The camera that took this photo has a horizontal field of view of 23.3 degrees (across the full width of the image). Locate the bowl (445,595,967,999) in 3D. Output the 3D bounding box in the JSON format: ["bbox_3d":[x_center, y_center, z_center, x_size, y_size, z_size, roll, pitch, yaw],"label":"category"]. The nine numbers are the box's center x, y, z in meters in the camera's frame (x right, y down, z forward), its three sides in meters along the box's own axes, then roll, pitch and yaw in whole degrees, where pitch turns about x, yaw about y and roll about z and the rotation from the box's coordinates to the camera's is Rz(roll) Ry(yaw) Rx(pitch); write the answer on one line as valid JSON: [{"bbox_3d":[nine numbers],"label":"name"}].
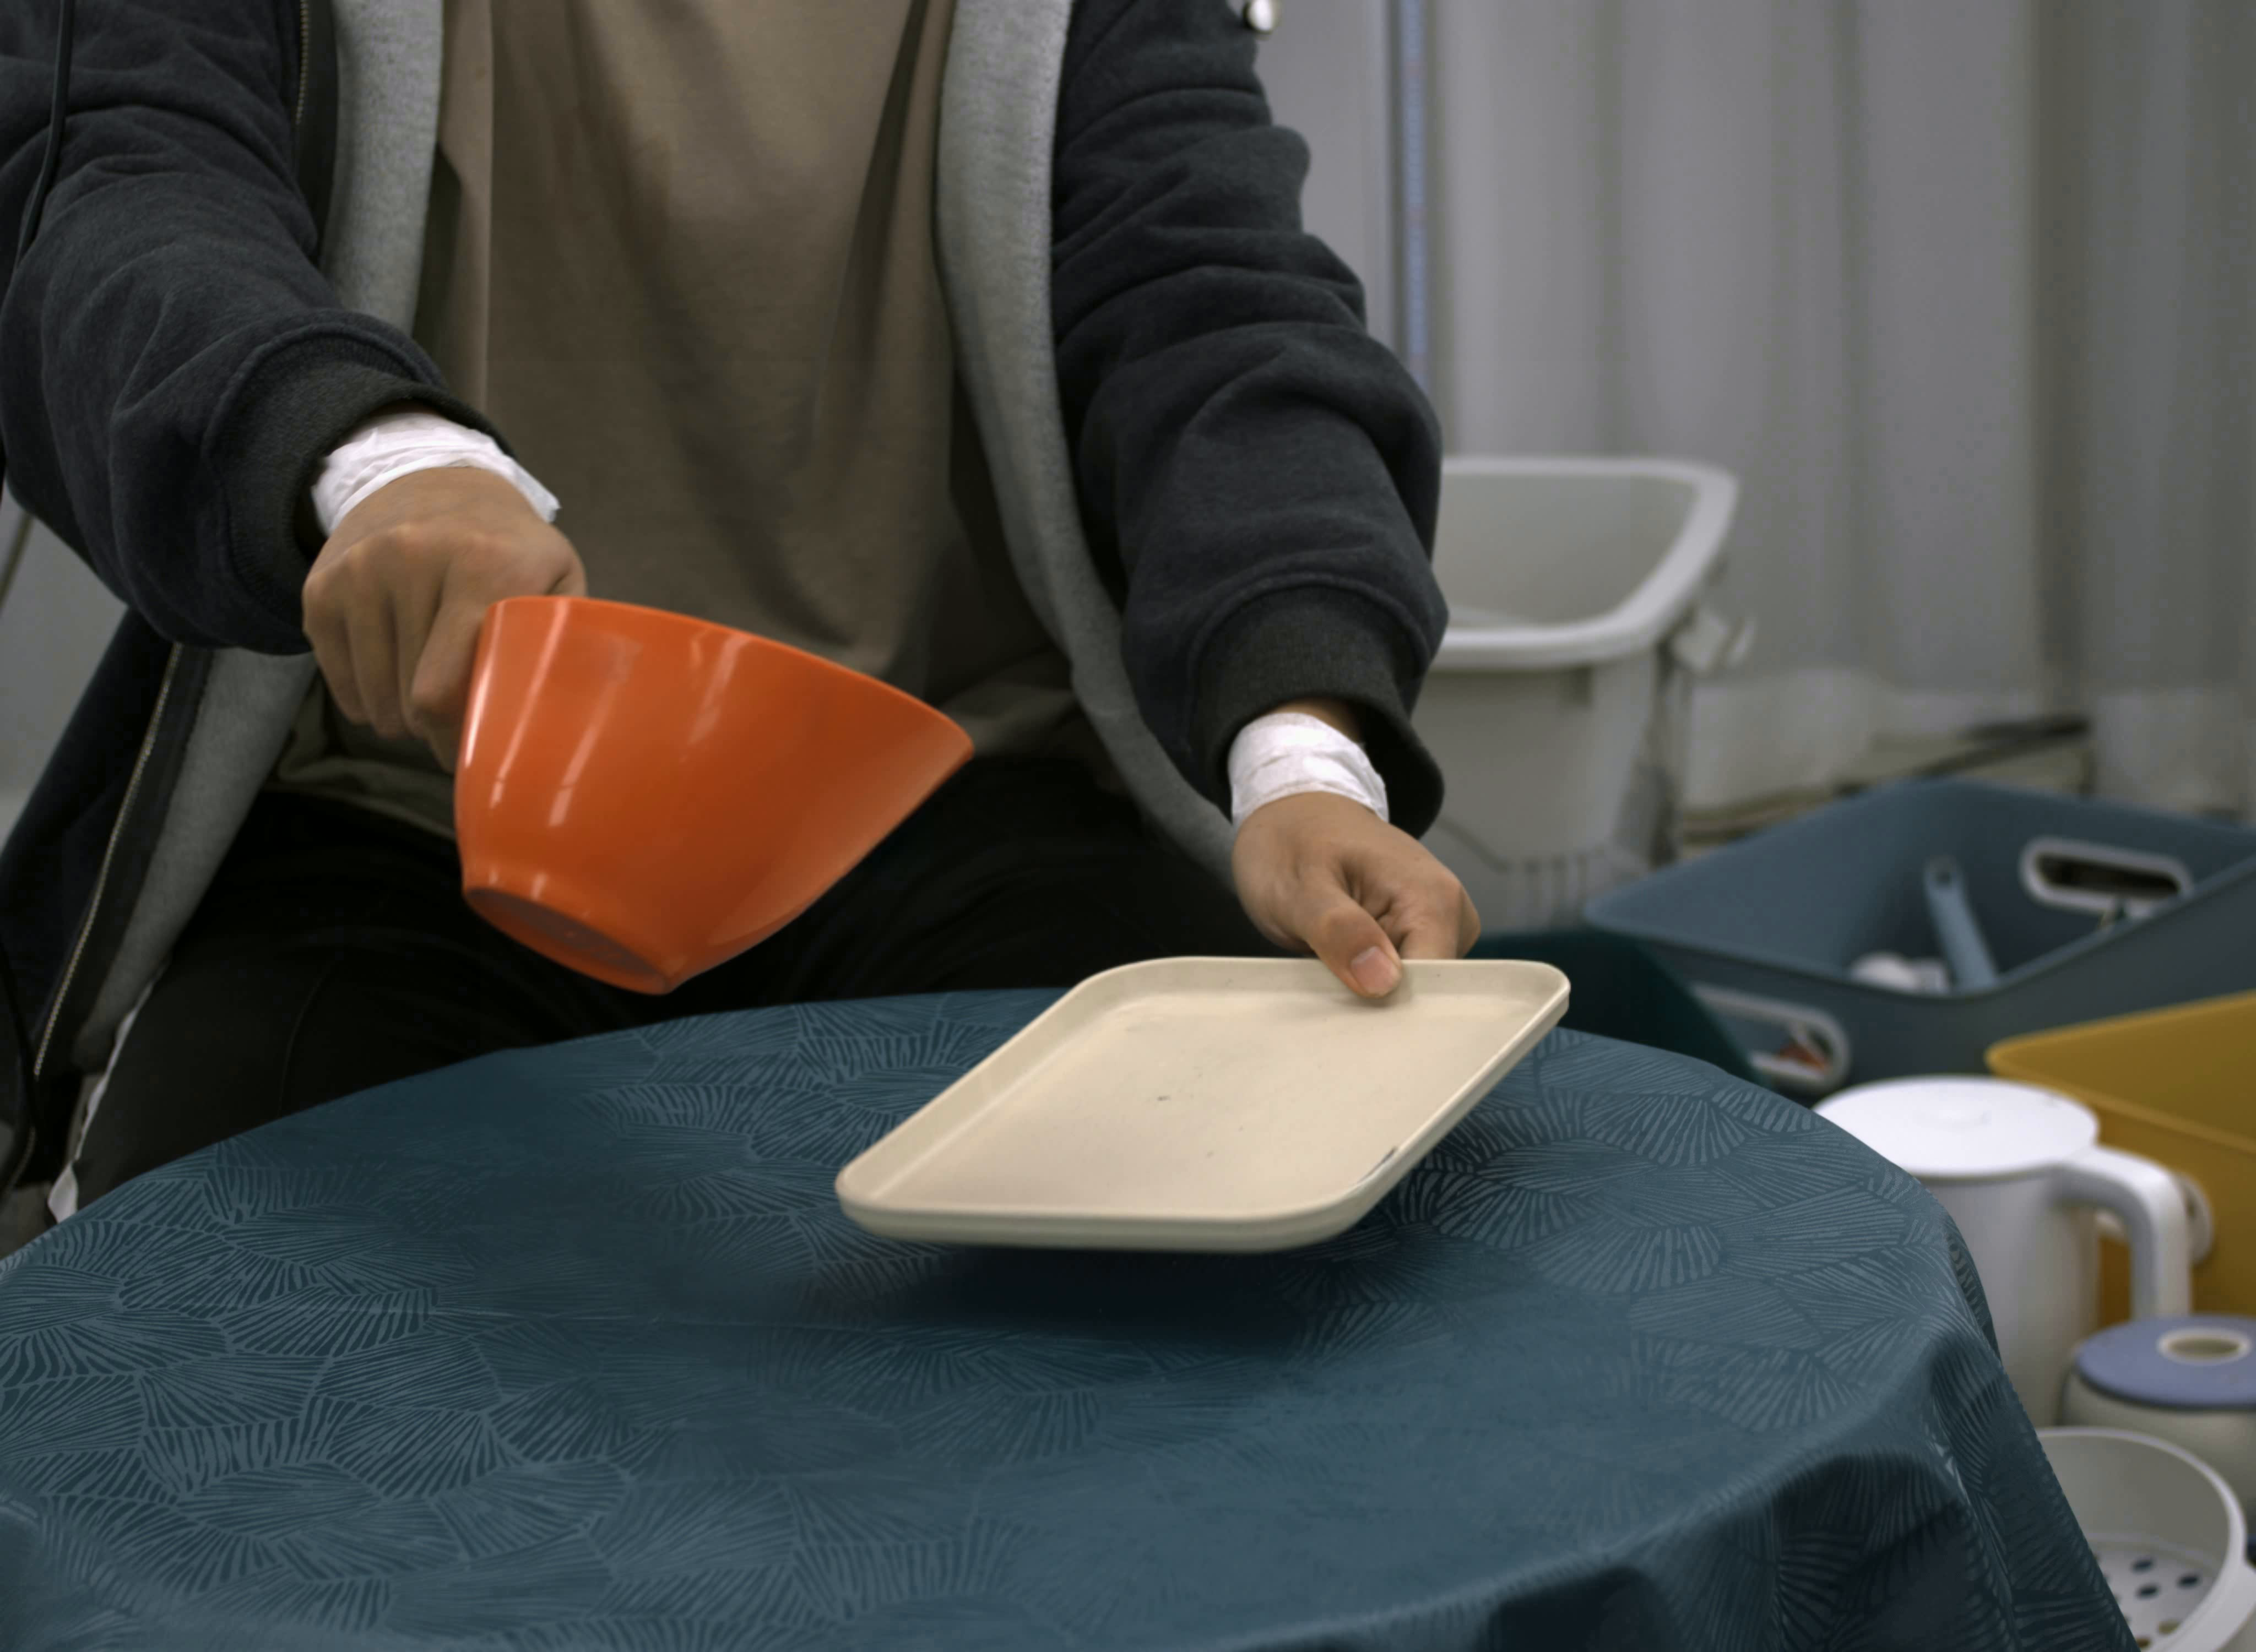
[{"bbox_3d":[-0.134,-0.005,1.599,0.148,0.105,0.147,24,-14,6],"label":"bowl"}]

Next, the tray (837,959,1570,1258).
[{"bbox_3d":[0.028,0.086,1.678,0.171,0.017,0.240,-1,17,25],"label":"tray"}]
